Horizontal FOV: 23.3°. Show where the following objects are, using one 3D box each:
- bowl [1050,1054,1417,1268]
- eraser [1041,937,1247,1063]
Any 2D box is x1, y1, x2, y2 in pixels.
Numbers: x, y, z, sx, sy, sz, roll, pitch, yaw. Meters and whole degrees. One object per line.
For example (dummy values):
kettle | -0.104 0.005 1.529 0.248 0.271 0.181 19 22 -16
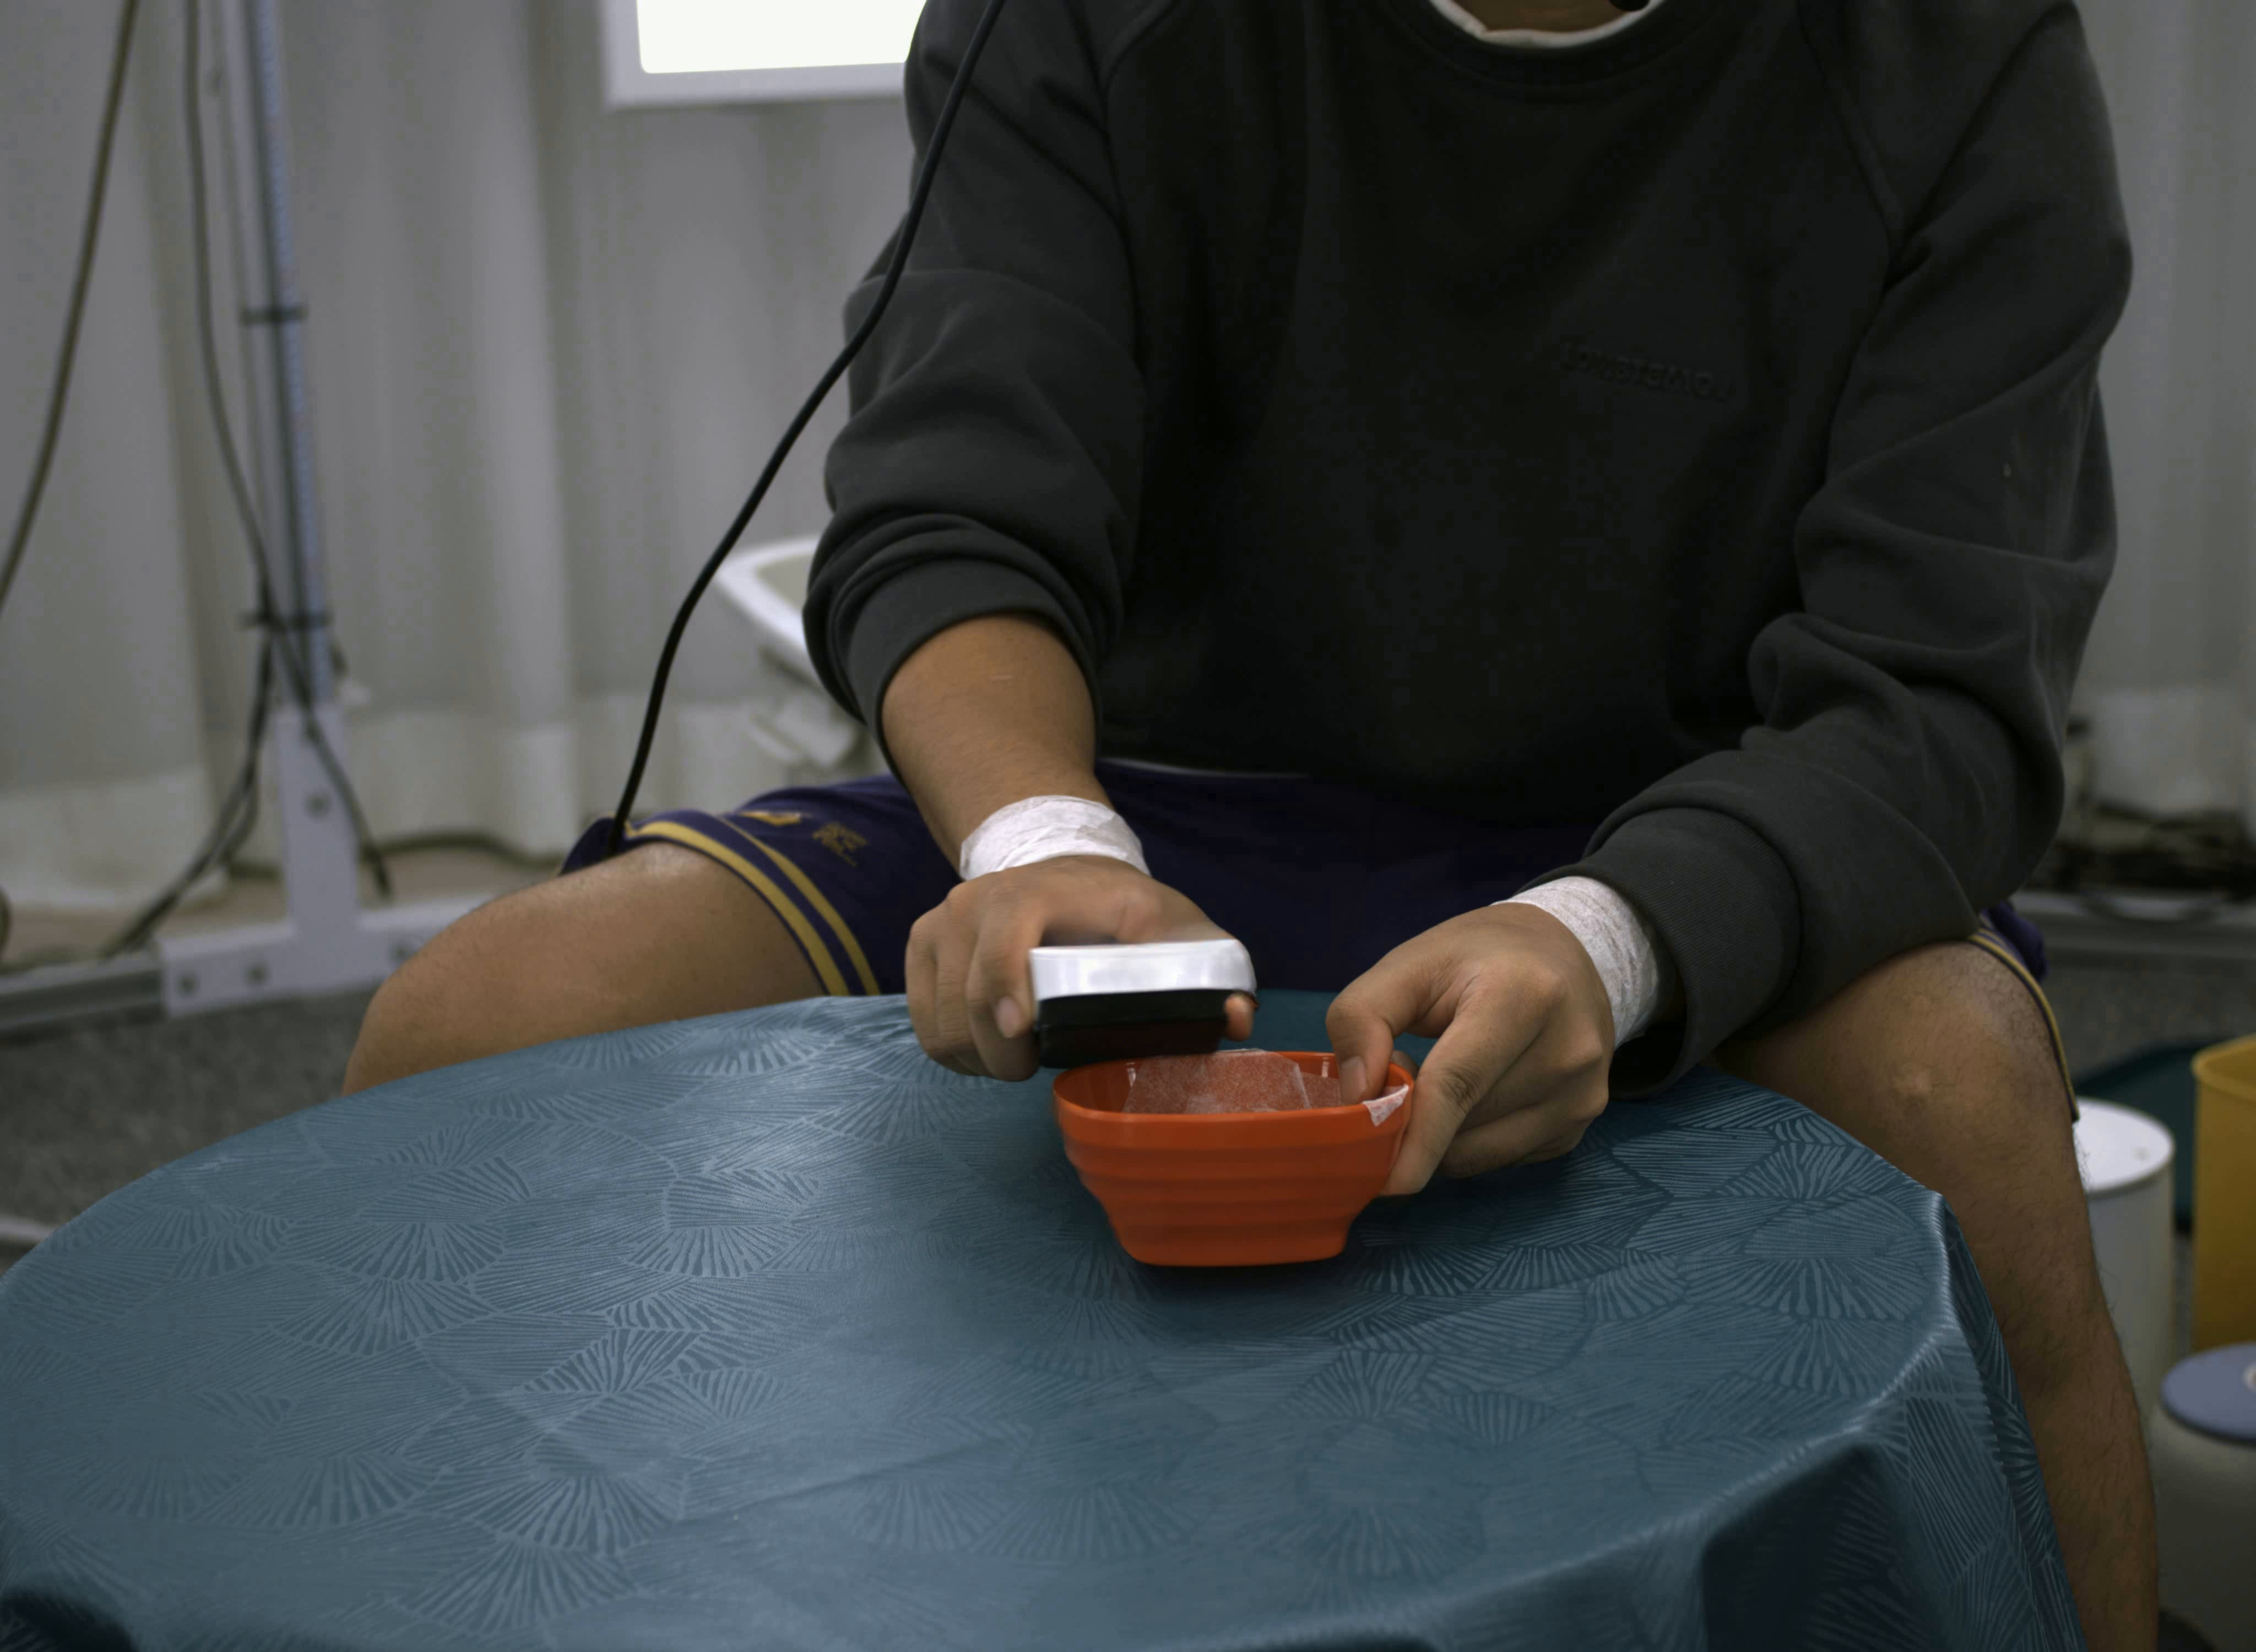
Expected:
bowl | 0.032 0.102 1.646 0.118 0.051 0.119 -2 6 0
eraser | 0.005 0.052 1.668 0.063 0.035 0.131 -2 -6 -1
